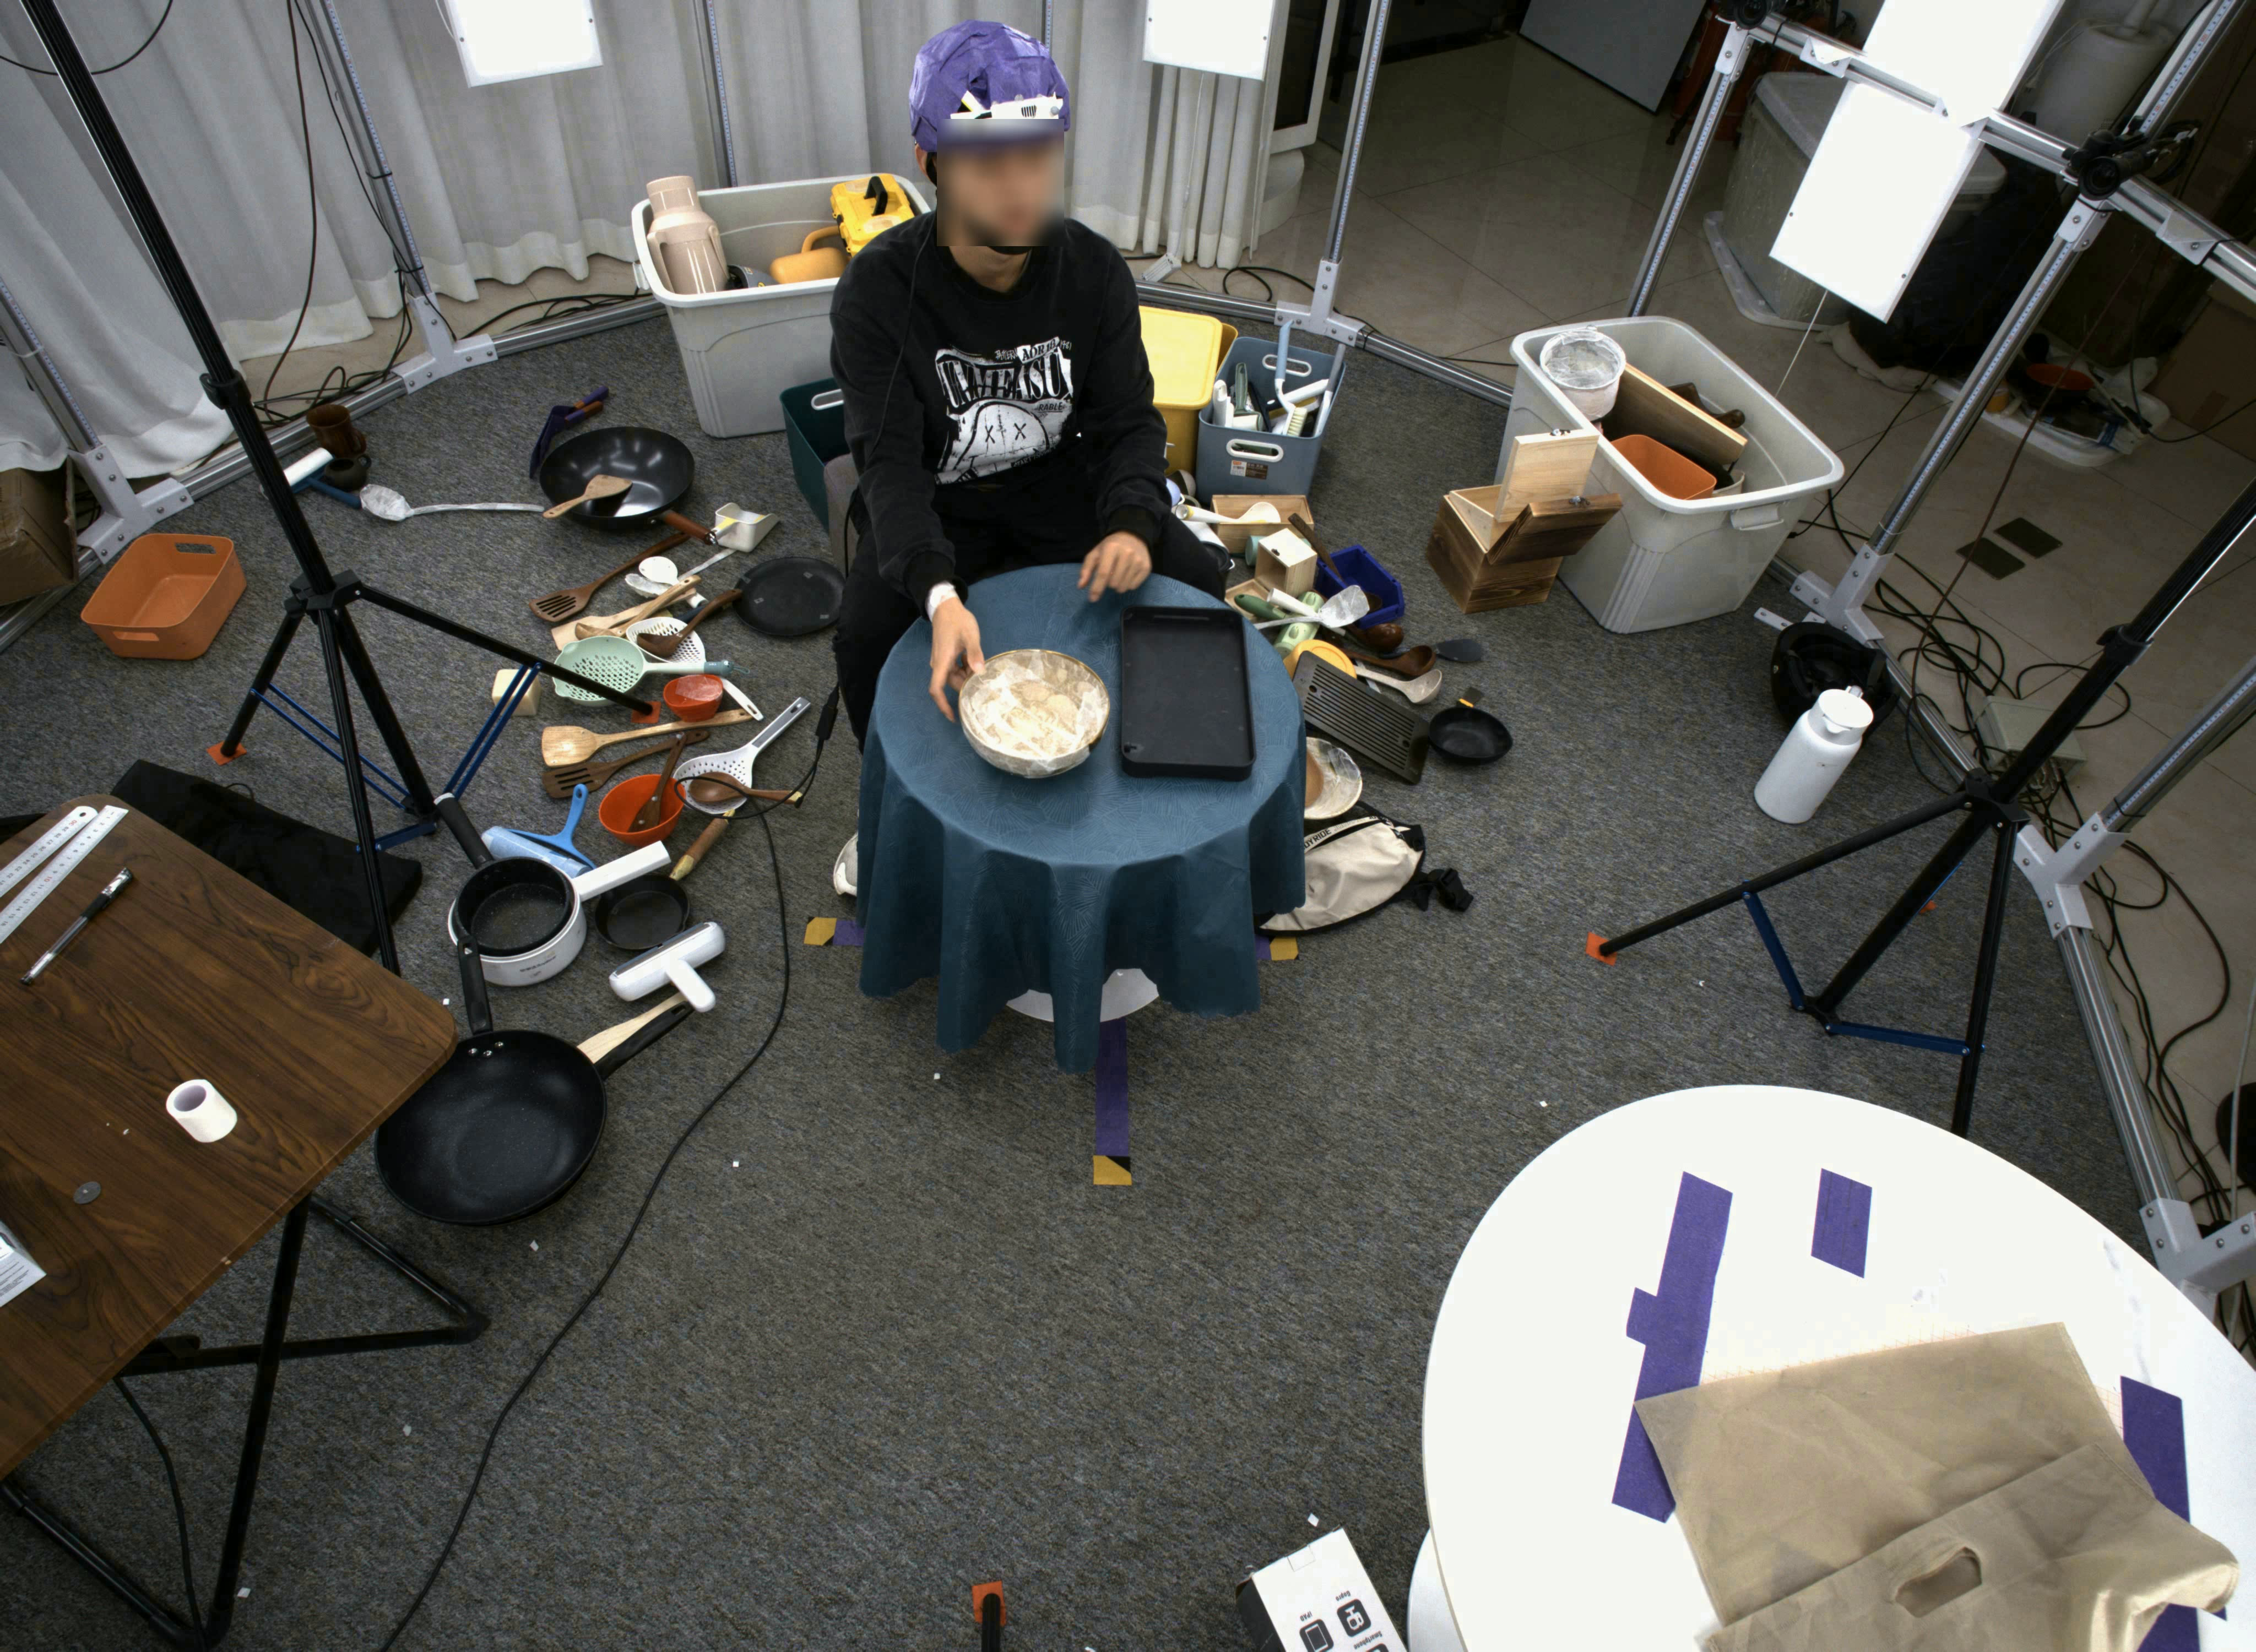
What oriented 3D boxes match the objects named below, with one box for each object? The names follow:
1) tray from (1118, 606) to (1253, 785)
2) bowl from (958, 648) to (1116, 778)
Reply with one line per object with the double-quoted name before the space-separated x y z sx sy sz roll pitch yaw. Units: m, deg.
"tray" 0.080 -0.192 1.837 0.184 0.036 0.326 3 50 -2
"bowl" -0.123 -0.138 1.735 0.214 0.092 0.220 2 49 -3
